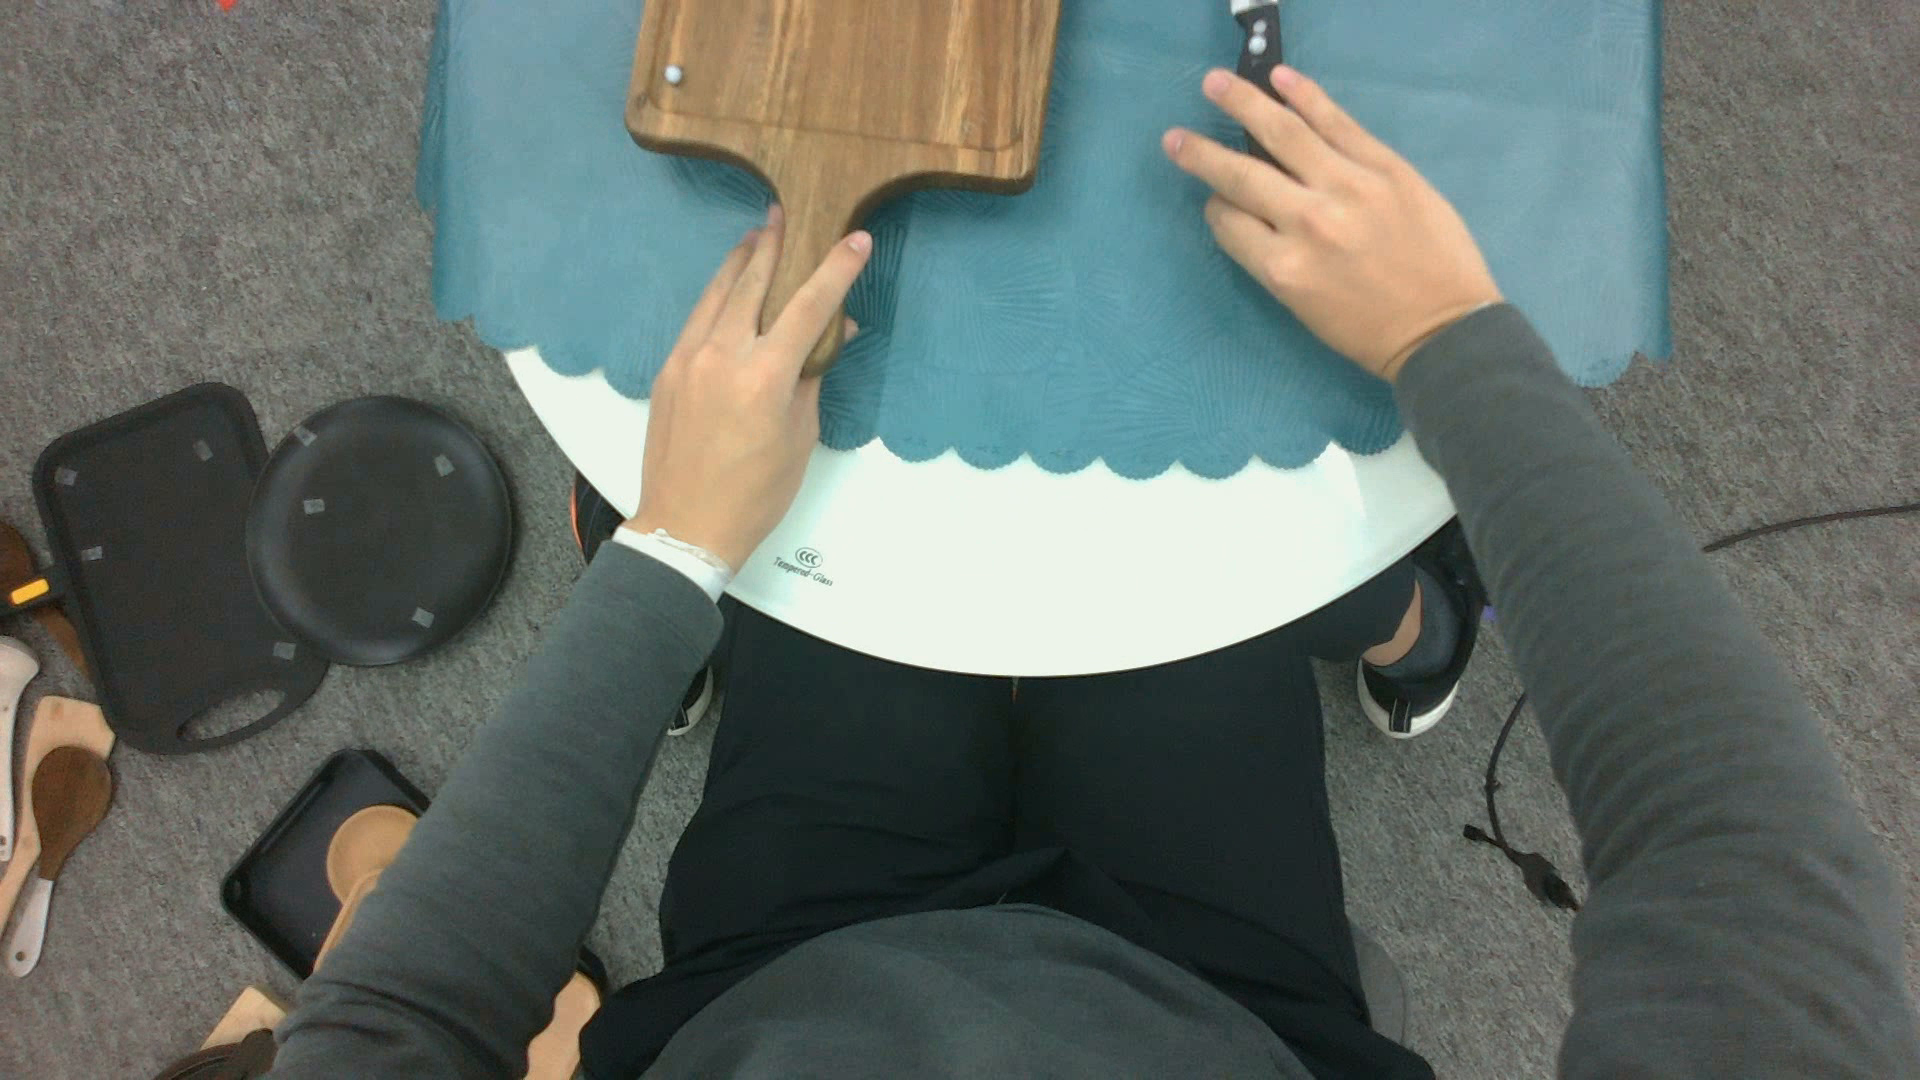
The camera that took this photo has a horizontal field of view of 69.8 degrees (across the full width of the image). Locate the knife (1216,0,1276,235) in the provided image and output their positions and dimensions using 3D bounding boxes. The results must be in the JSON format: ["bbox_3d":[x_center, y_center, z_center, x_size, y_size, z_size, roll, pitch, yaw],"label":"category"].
[{"bbox_3d":[0.134,-0.258,0.660,0.024,0.016,0.238,-6,75,18],"label":"knife"}]

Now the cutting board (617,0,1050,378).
[{"bbox_3d":[-0.058,-0.250,0.663,0.201,0.023,0.352,6,81,4],"label":"cutting board"}]
